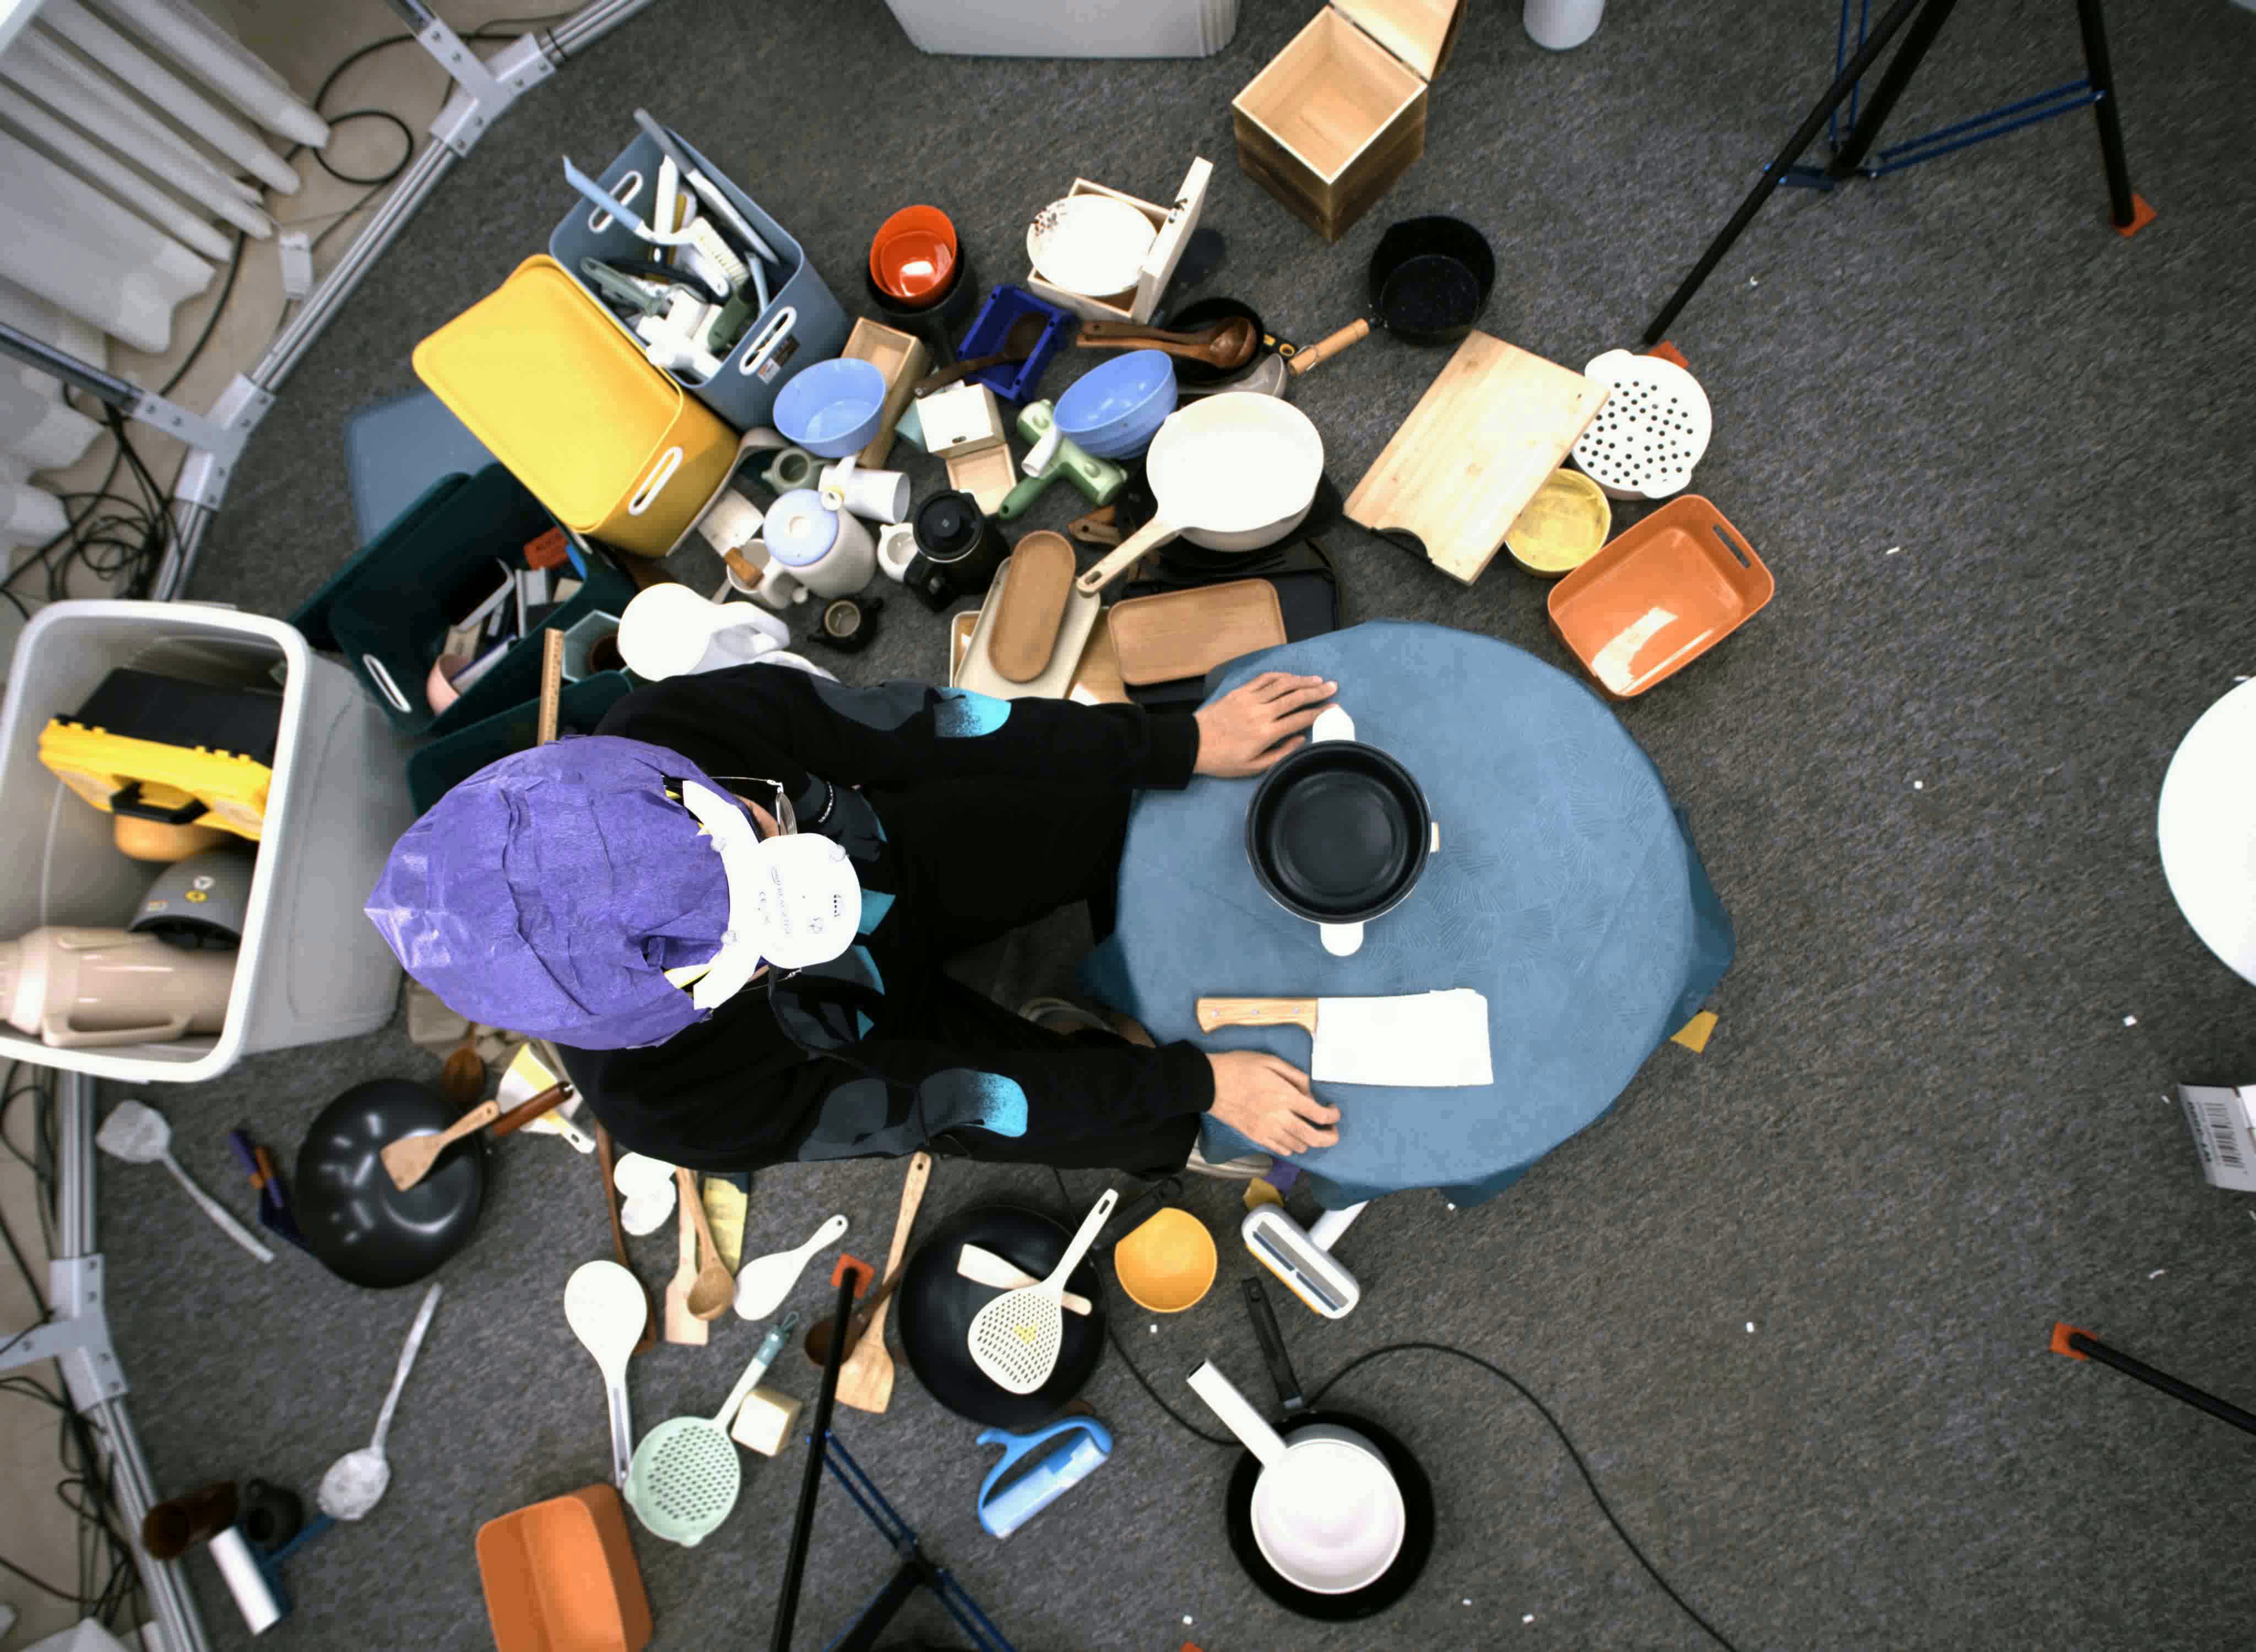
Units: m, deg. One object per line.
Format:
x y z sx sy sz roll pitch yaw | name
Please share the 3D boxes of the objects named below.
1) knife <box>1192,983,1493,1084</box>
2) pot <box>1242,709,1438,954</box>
0.224 0.212 1.452 0.316 0.022 0.113 3 88 8 | knife
0.218 0.008 1.402 0.191 0.142 0.239 -3 87 13 | pot
